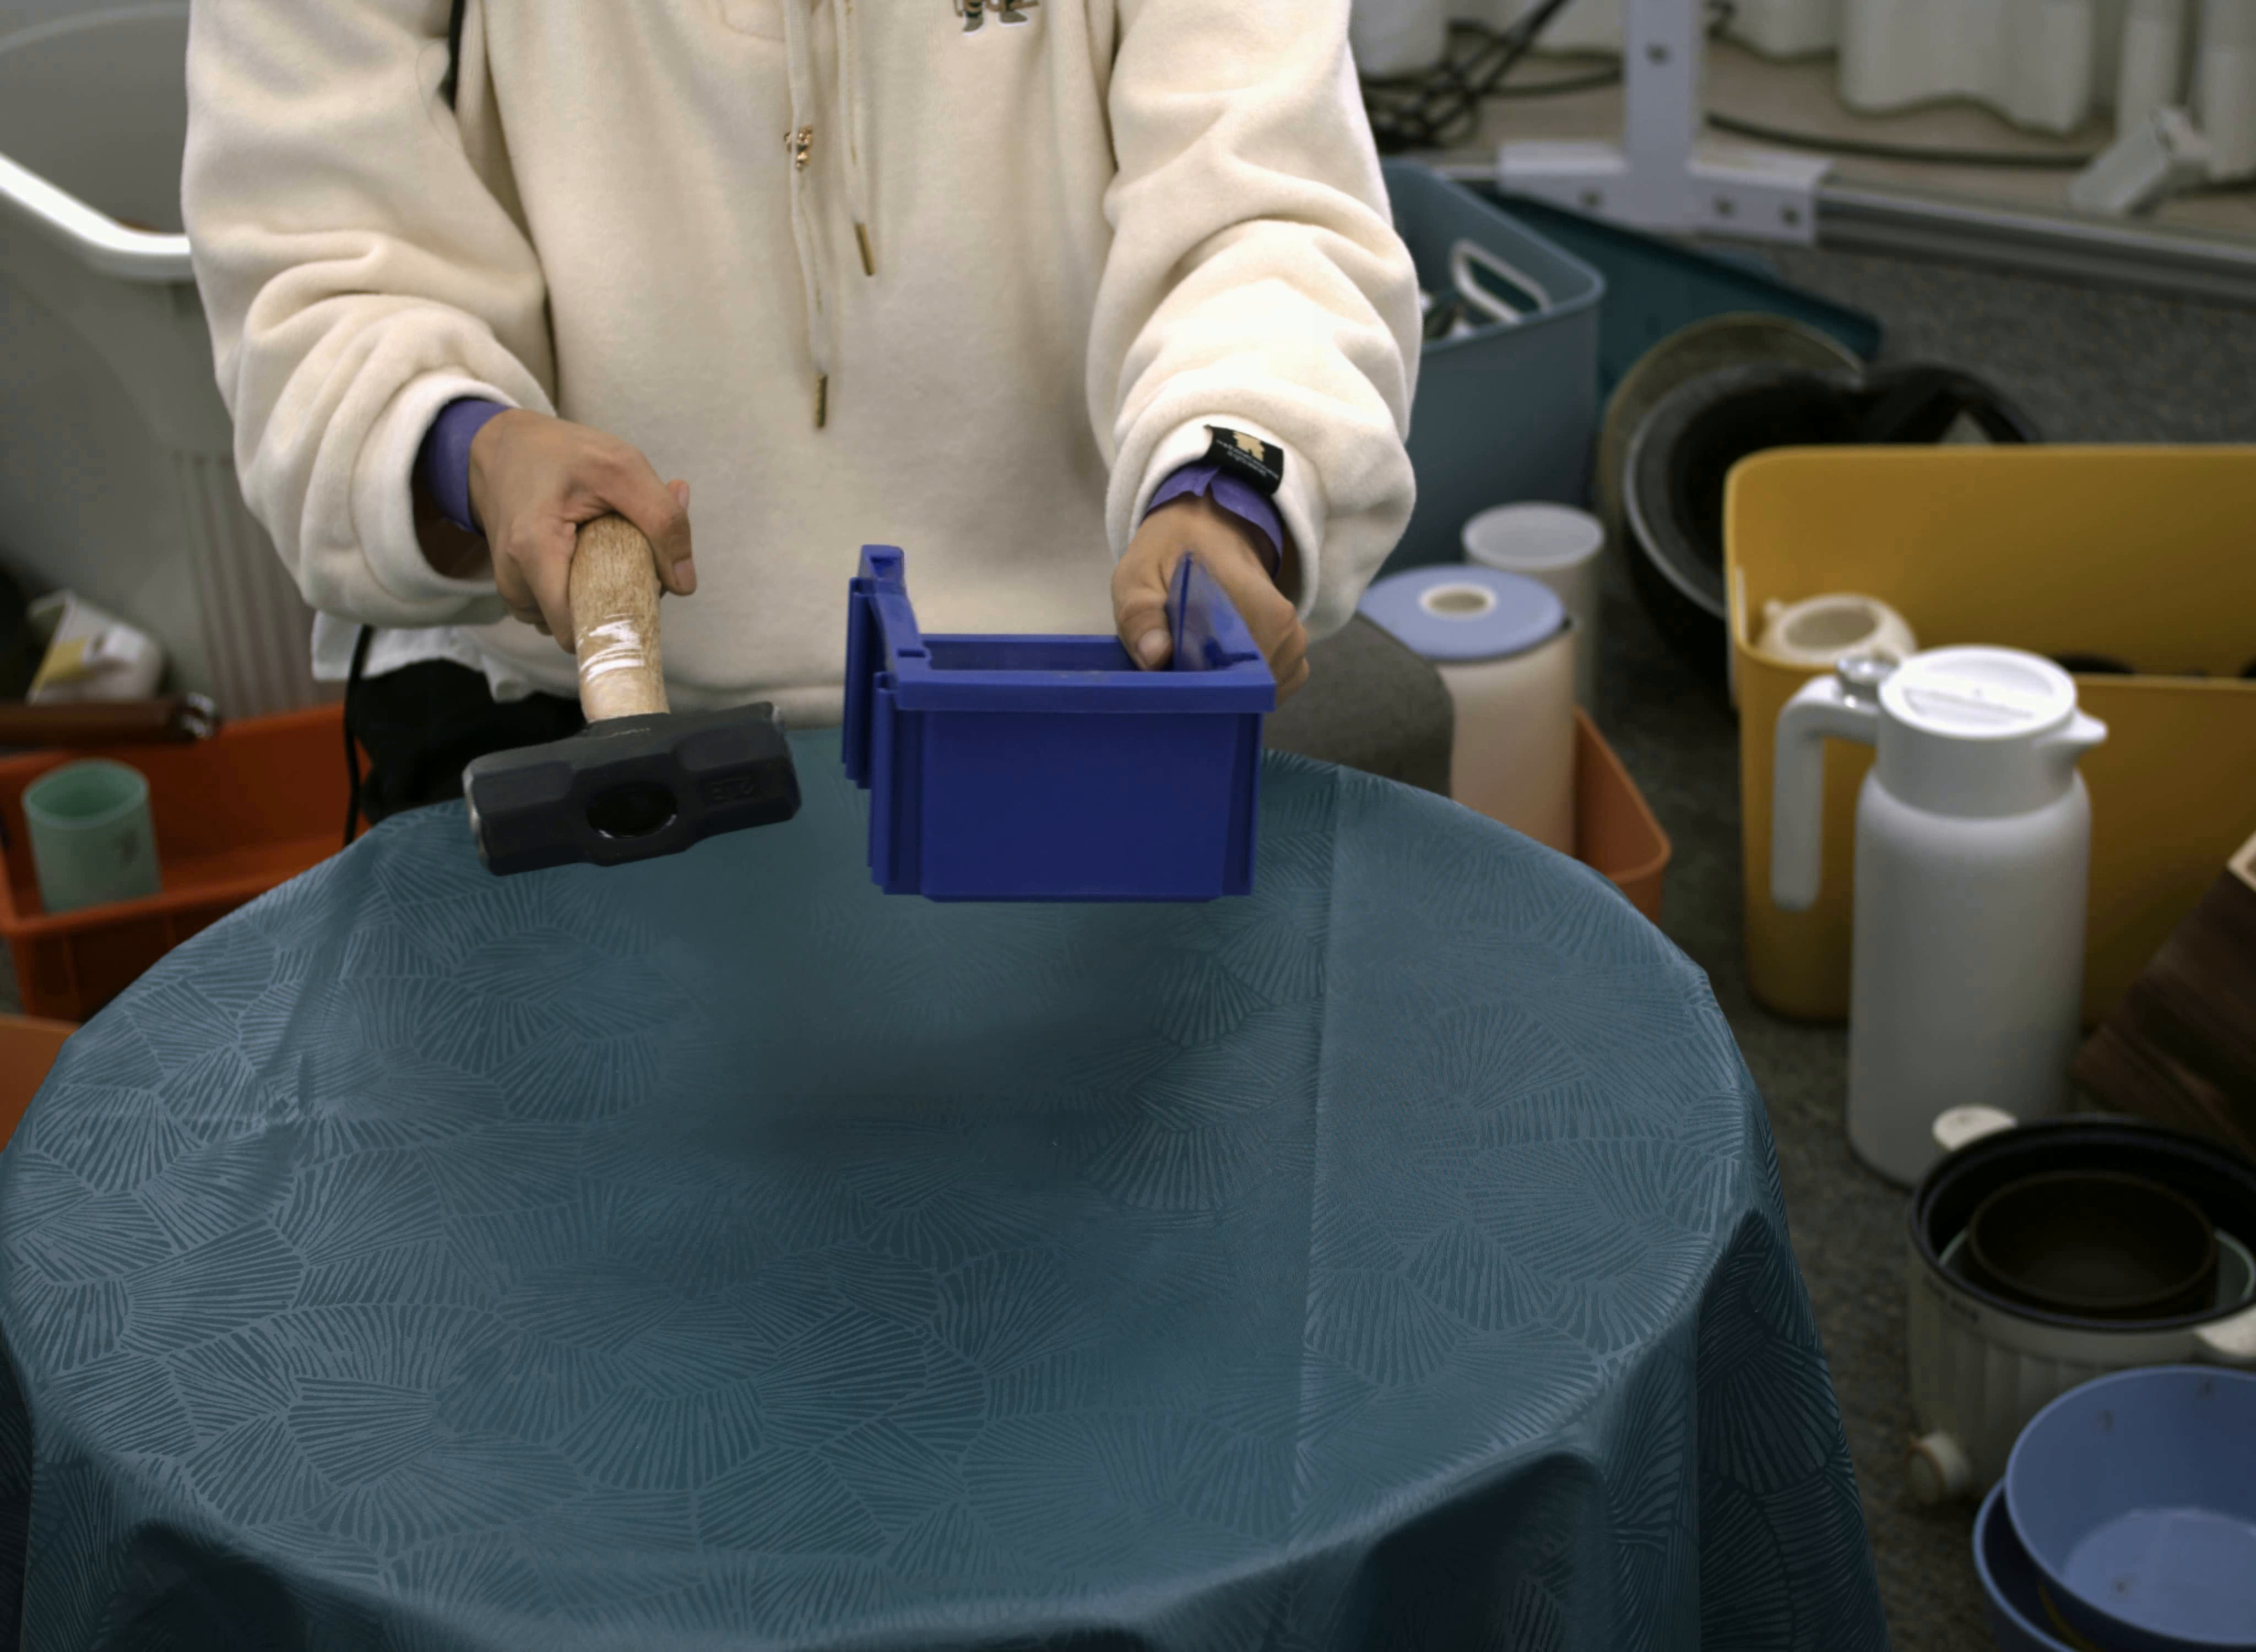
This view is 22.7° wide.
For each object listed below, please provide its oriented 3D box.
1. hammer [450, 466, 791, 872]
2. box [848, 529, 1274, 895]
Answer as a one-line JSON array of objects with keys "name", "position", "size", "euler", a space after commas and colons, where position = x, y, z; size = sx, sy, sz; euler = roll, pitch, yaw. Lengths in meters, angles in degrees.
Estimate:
[{"name": "hammer", "position": [-0.172, -0.064, 1.951], "size": [0.107, 0.038, 0.309], "euler": [-11, 22, 1]}, {"name": "box", "position": [-0.027, -0.042, 1.869], "size": [0.124, 0.081, 0.181], "euler": [1, 21, -8]}]
